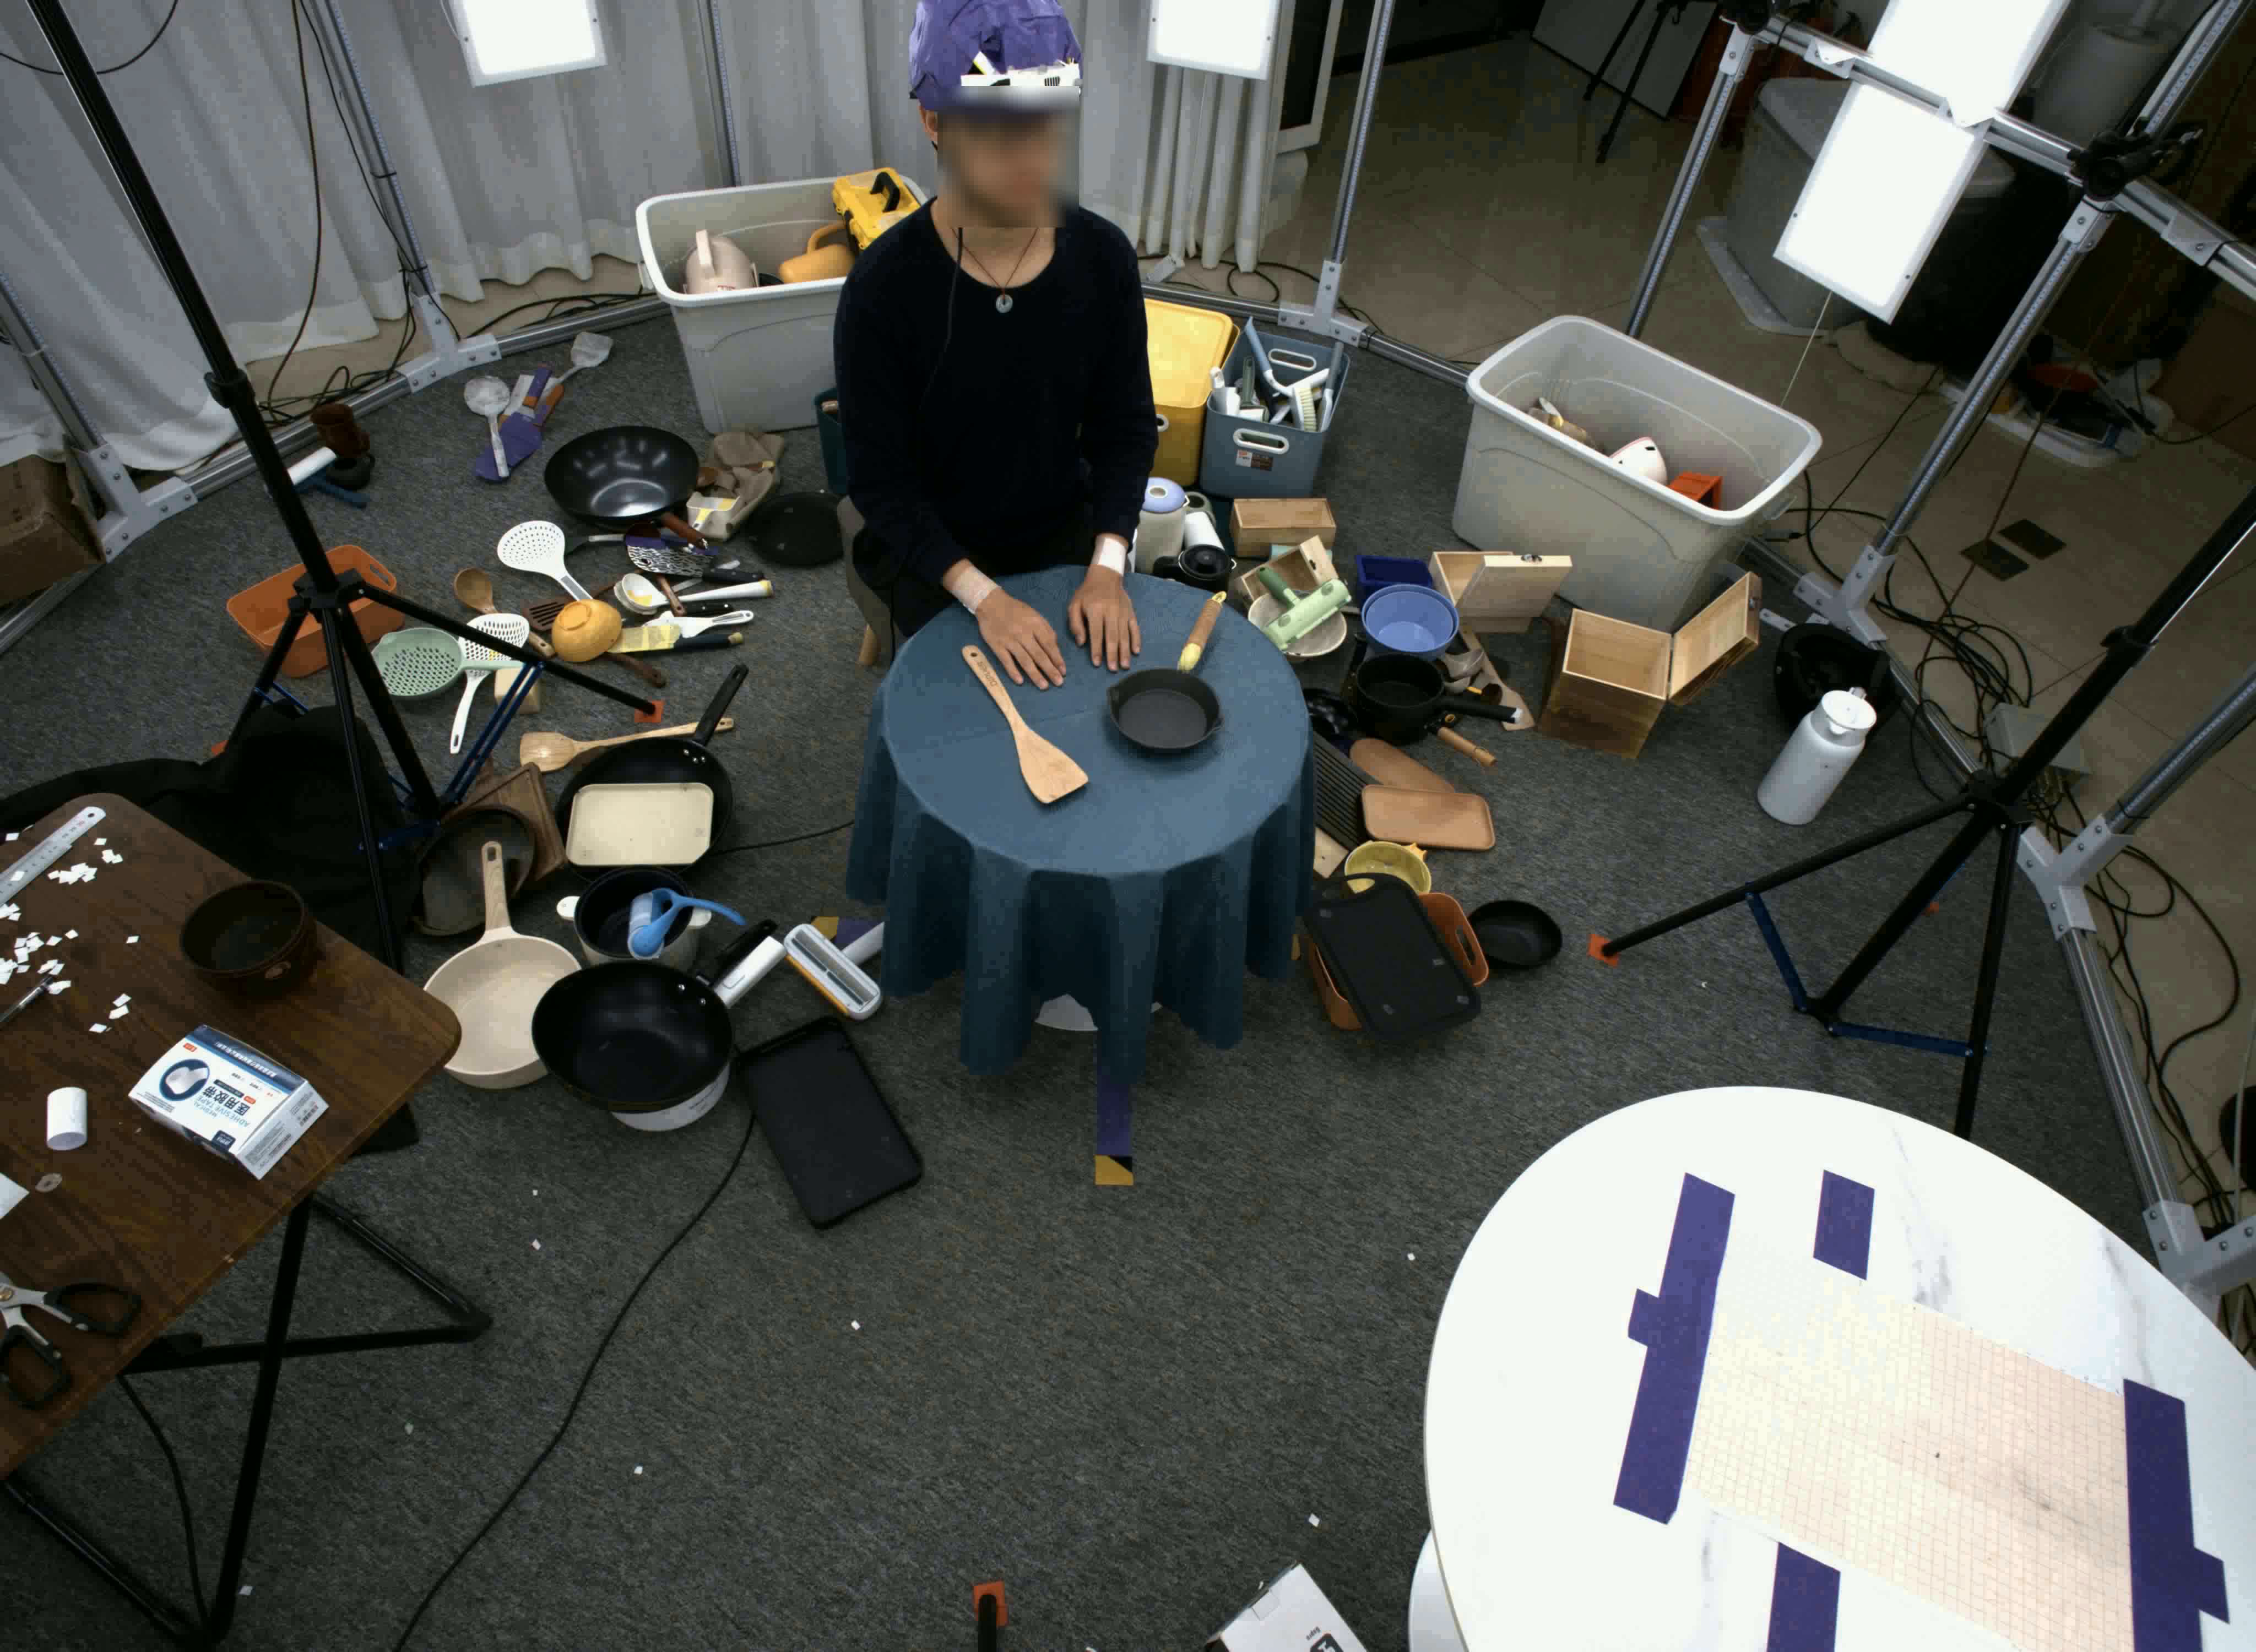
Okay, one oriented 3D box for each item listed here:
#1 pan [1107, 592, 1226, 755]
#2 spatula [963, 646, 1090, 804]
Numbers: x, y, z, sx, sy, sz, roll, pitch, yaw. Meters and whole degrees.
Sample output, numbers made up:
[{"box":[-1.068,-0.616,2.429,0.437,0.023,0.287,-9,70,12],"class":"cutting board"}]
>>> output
[{"box":[0.082,-0.221,1.834,0.170,0.048,0.330,18,52,12],"class":"pan"},{"box":[-0.154,-0.149,1.777,0.080,0.016,0.335,-19,53,-21],"class":"spatula"}]
